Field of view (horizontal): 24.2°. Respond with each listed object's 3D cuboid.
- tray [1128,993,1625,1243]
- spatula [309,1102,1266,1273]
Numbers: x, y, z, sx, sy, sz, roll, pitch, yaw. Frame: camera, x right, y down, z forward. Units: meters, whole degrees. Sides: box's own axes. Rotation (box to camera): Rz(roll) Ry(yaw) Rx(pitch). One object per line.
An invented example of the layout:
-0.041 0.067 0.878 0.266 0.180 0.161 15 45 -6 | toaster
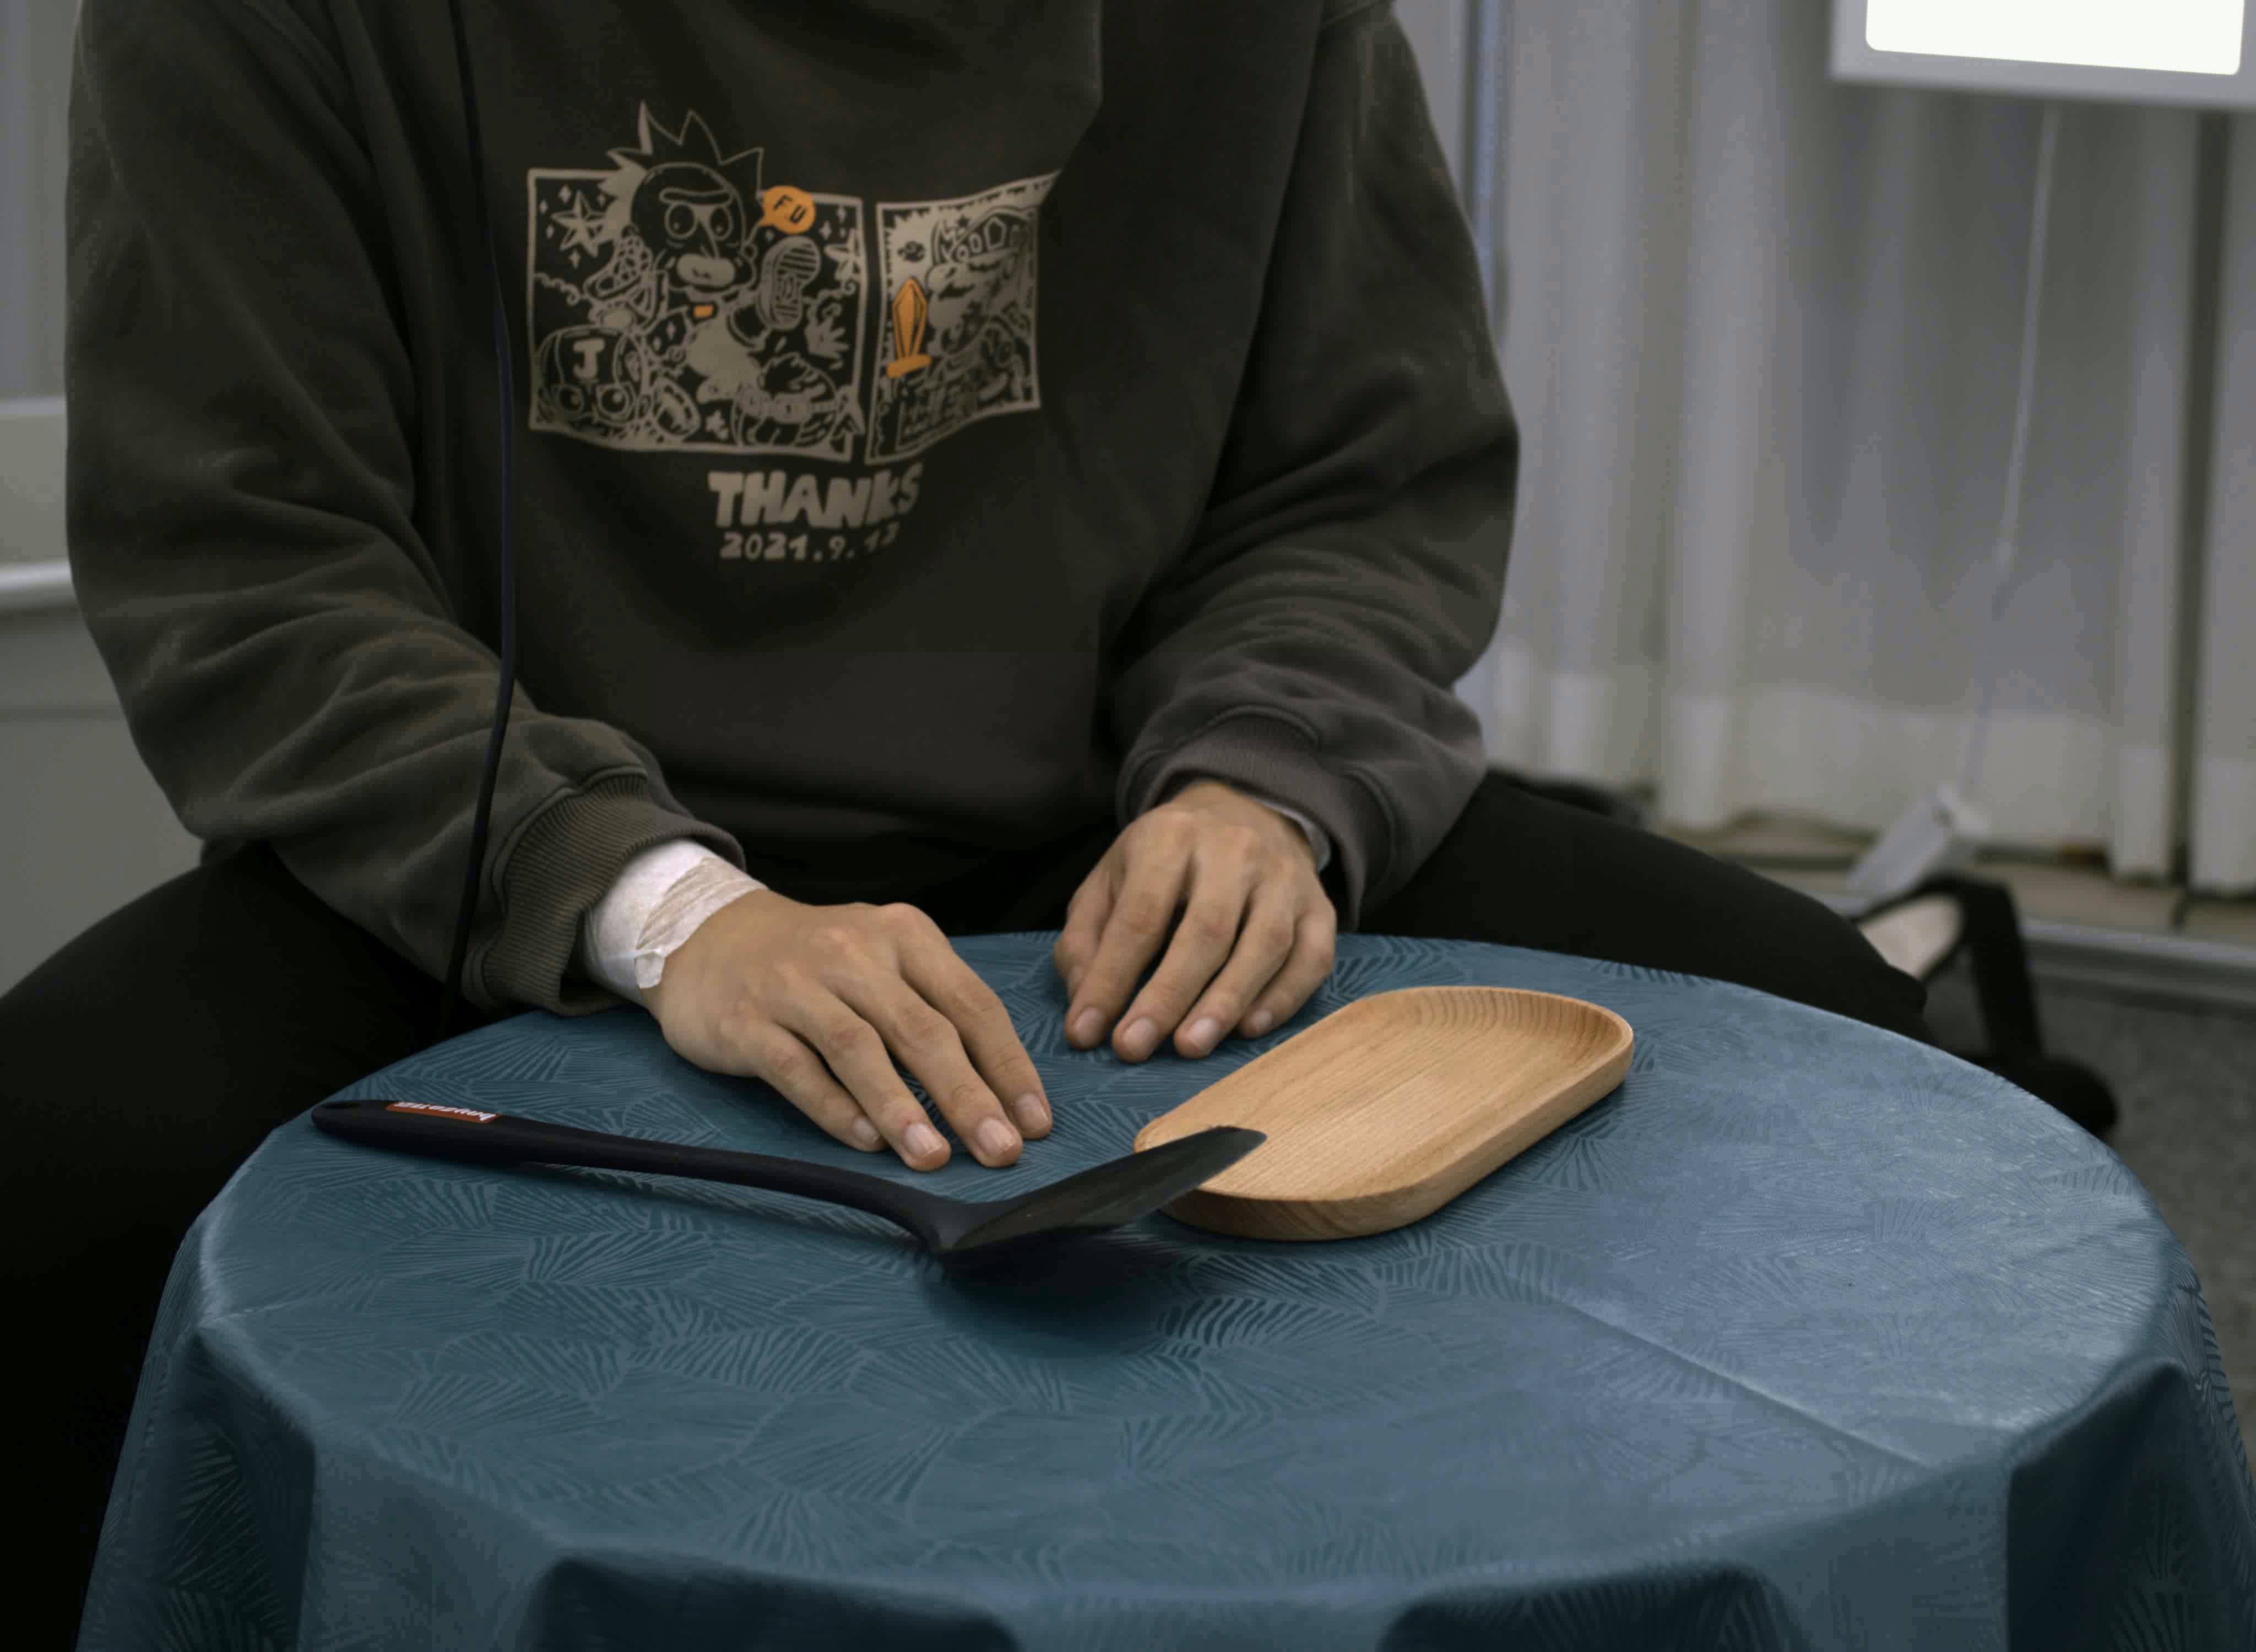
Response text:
0.082 0.091 1.681 0.100 0.020 0.232 8 18 27 | tray
-0.118 0.099 1.606 0.322 0.040 0.100 9 16 26 | spatula
